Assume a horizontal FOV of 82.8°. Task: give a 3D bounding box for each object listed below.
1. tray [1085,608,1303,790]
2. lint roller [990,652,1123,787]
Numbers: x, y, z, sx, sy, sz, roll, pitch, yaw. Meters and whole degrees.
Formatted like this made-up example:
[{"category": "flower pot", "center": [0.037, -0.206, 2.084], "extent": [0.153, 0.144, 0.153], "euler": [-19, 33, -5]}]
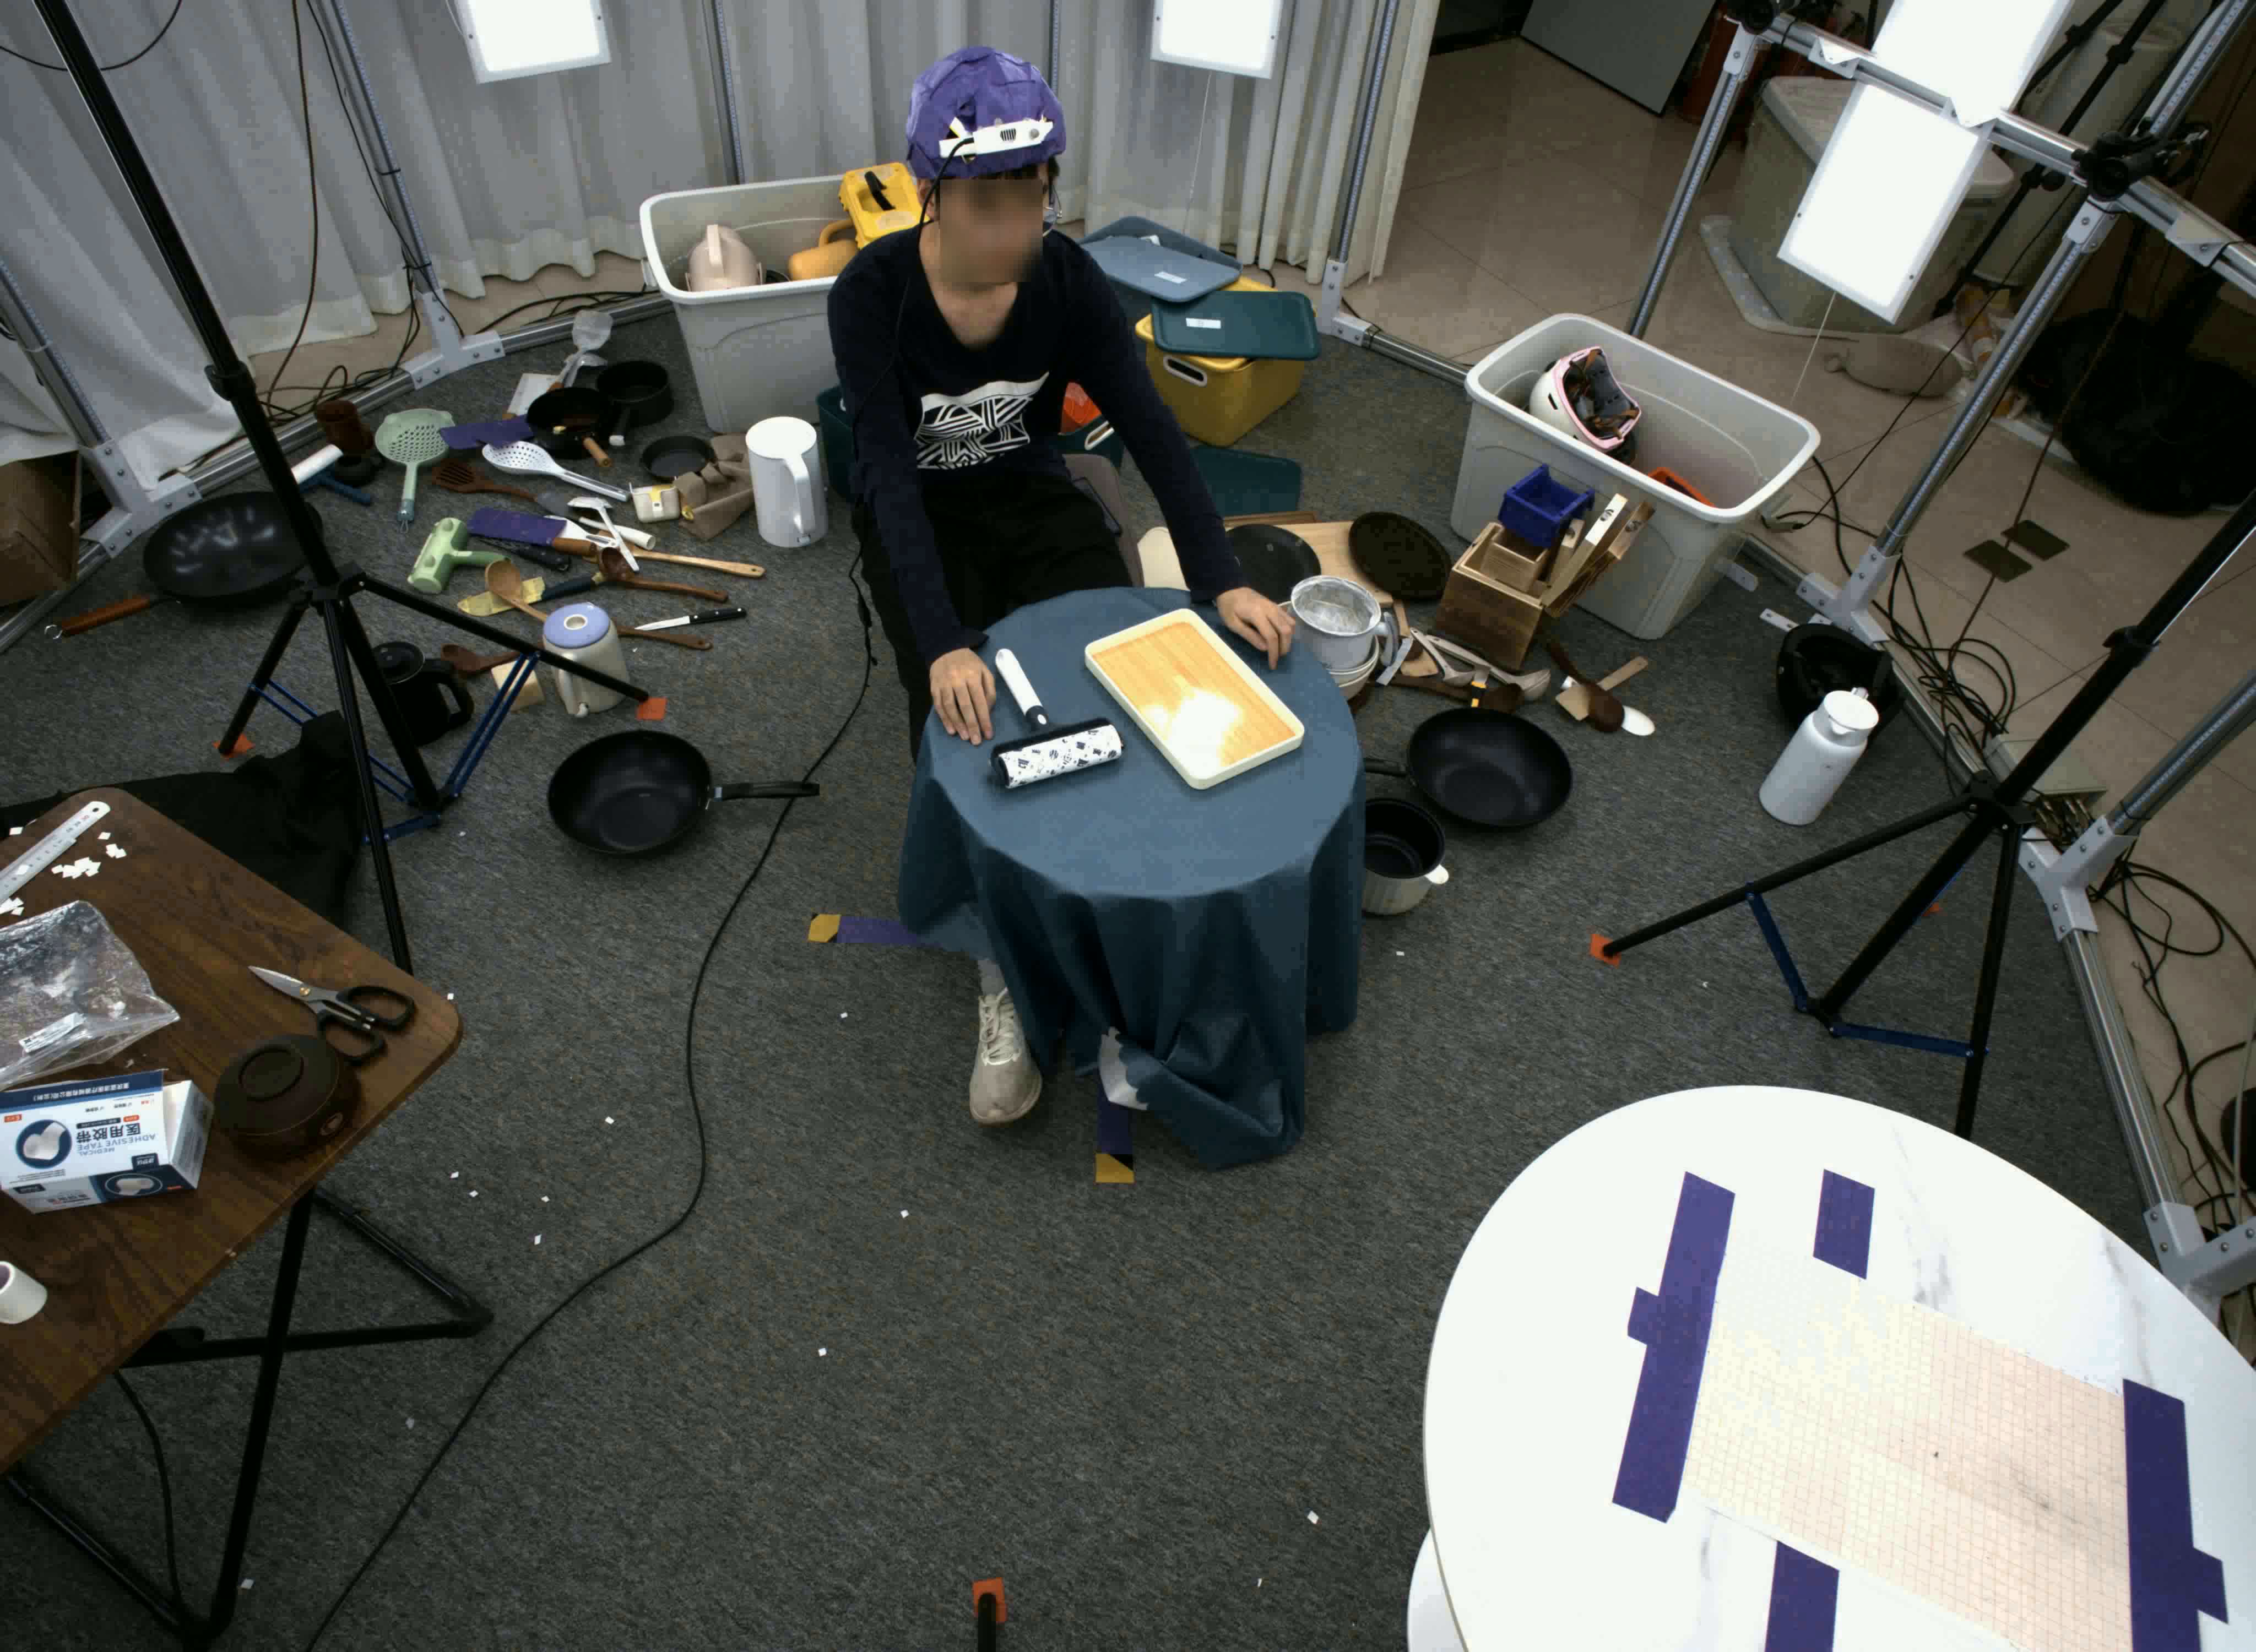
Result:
[{"category": "tray", "center": [0.089, -0.187, 1.817], "extent": [0.192, 0.027, 0.306], "euler": [-23, 54, -22]}, {"category": "lint roller", "center": [-0.134, -0.165, 1.774], "extent": [0.176, 0.049, 0.253], "euler": [-18, 51, -17]}]
